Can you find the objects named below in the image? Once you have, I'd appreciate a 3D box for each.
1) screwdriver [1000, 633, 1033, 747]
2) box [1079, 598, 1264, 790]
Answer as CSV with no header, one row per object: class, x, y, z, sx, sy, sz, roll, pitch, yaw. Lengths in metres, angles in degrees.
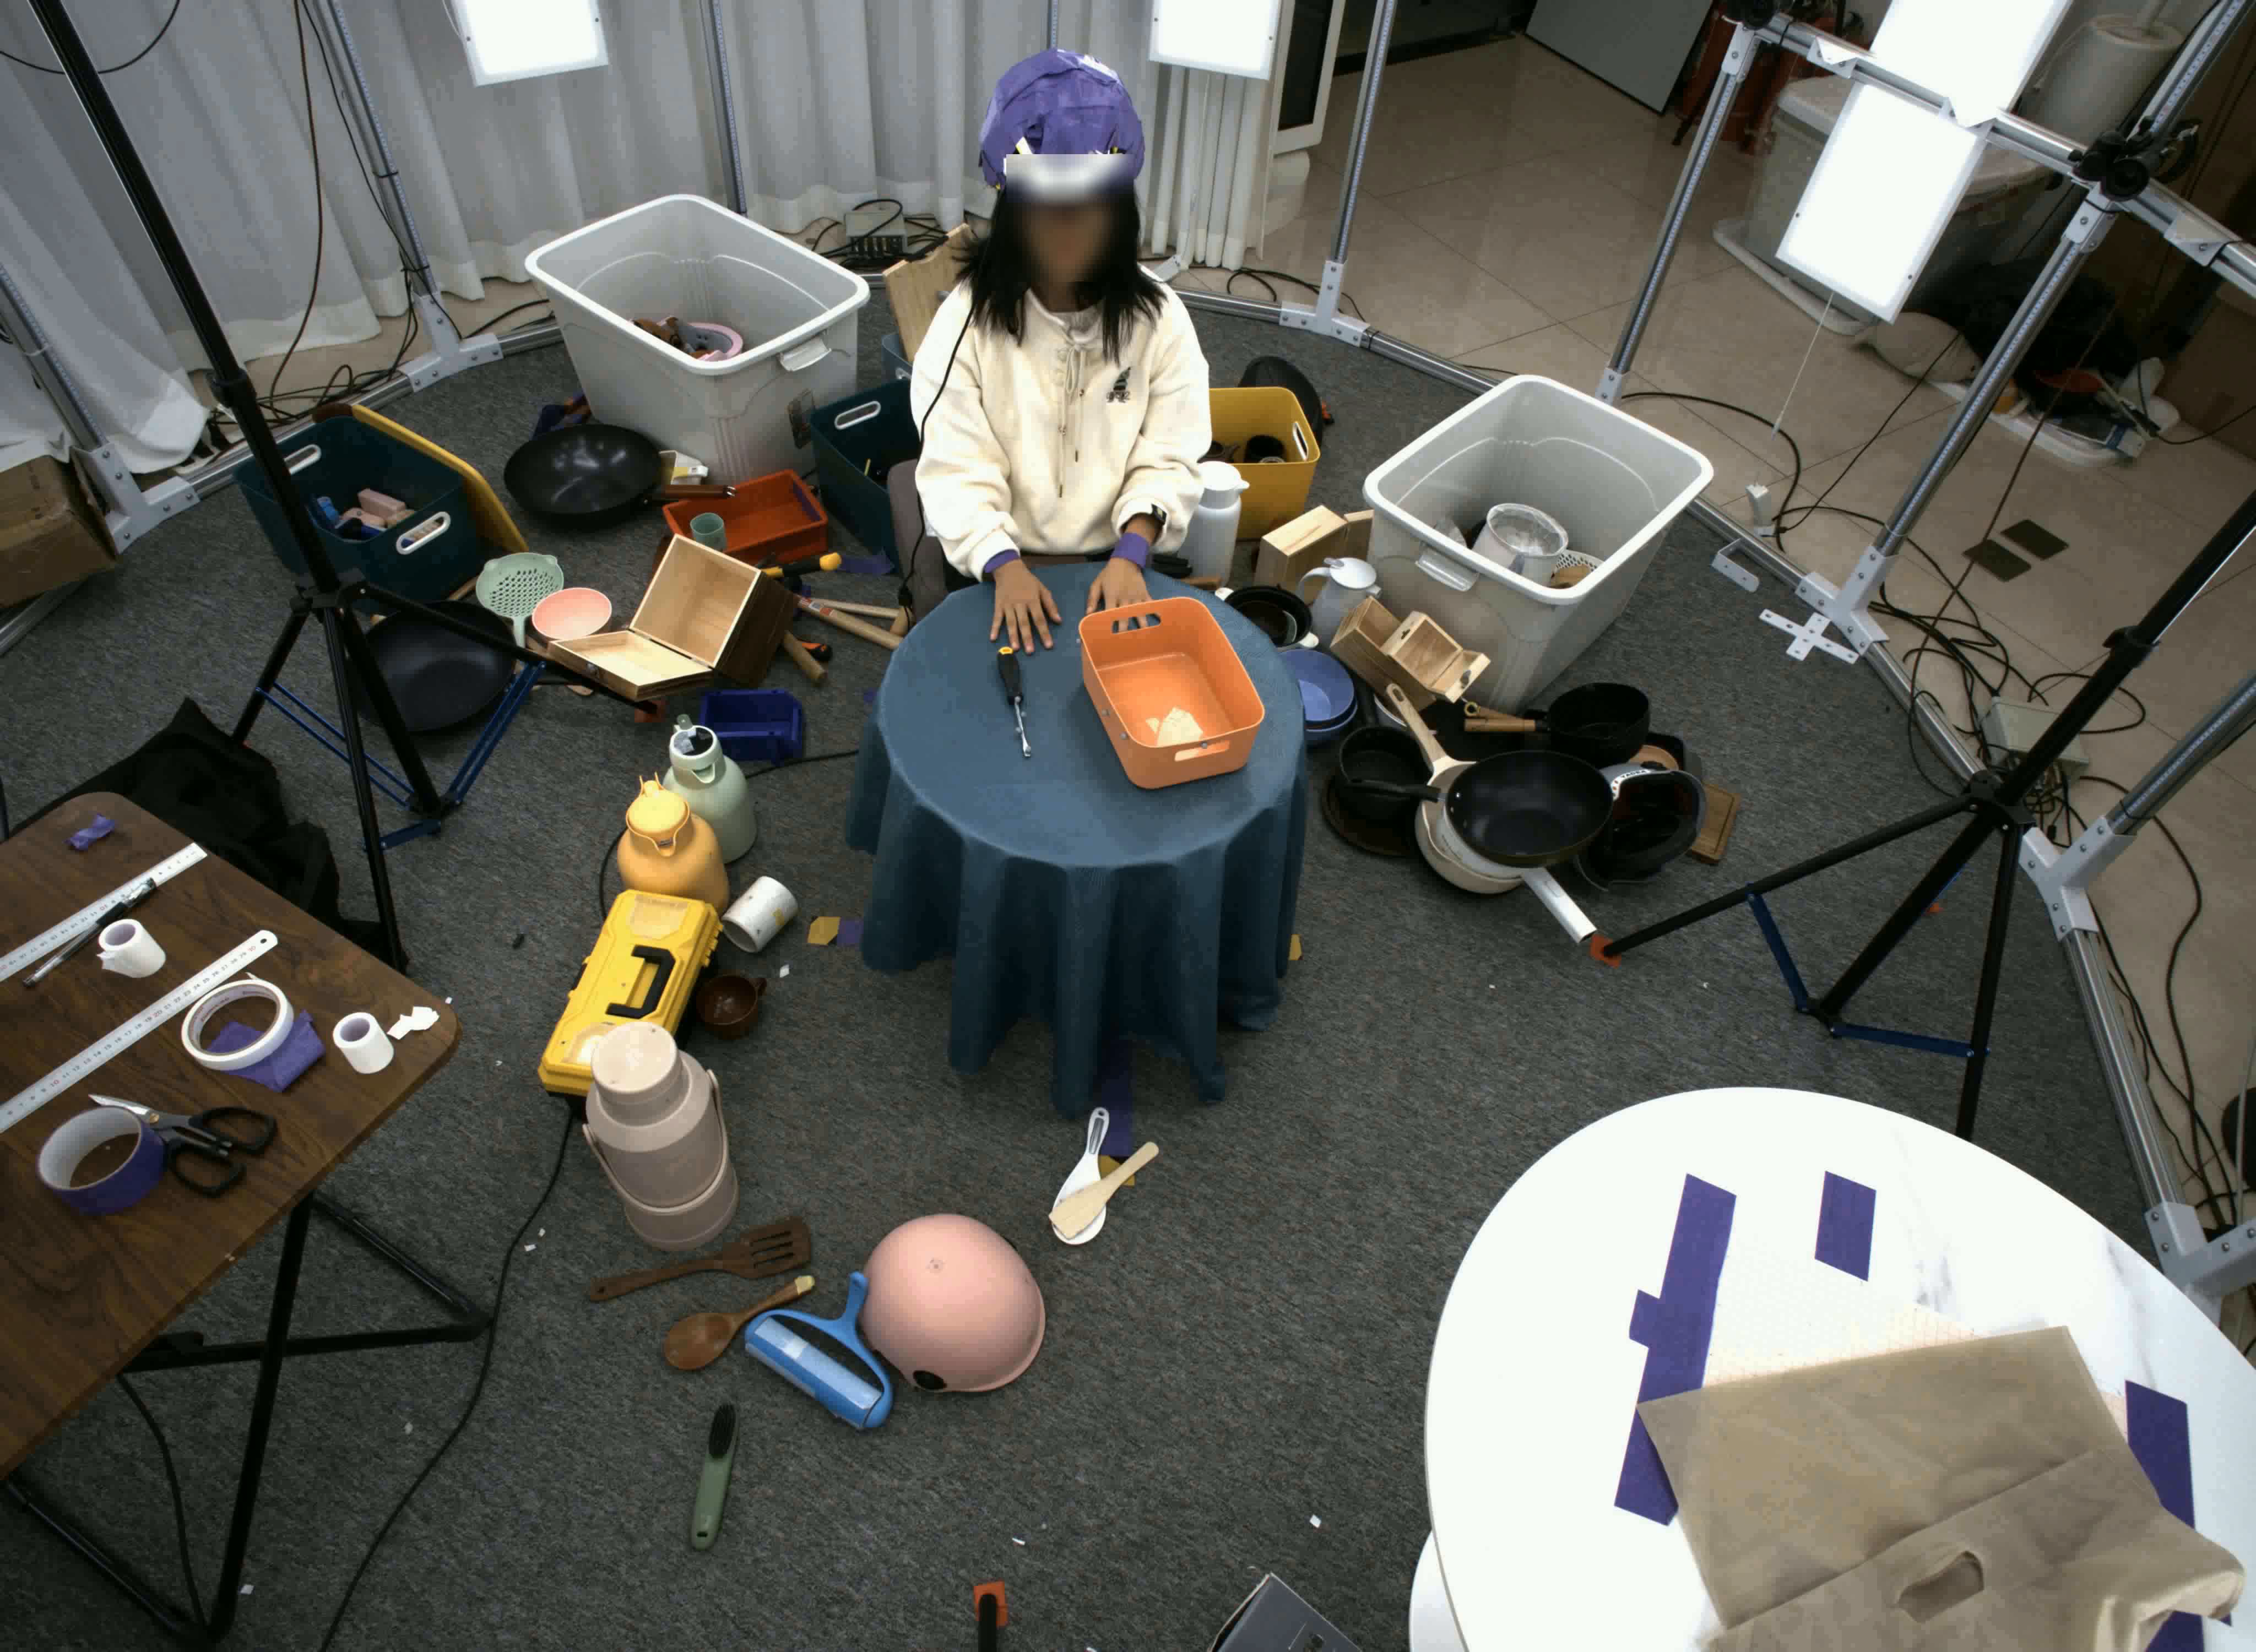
screwdriver,-0.149,-0.190,1.795,0.031,0.031,0.202,-9,59,-13
box,0.054,-0.181,1.764,0.199,0.100,0.280,-13,52,-14
